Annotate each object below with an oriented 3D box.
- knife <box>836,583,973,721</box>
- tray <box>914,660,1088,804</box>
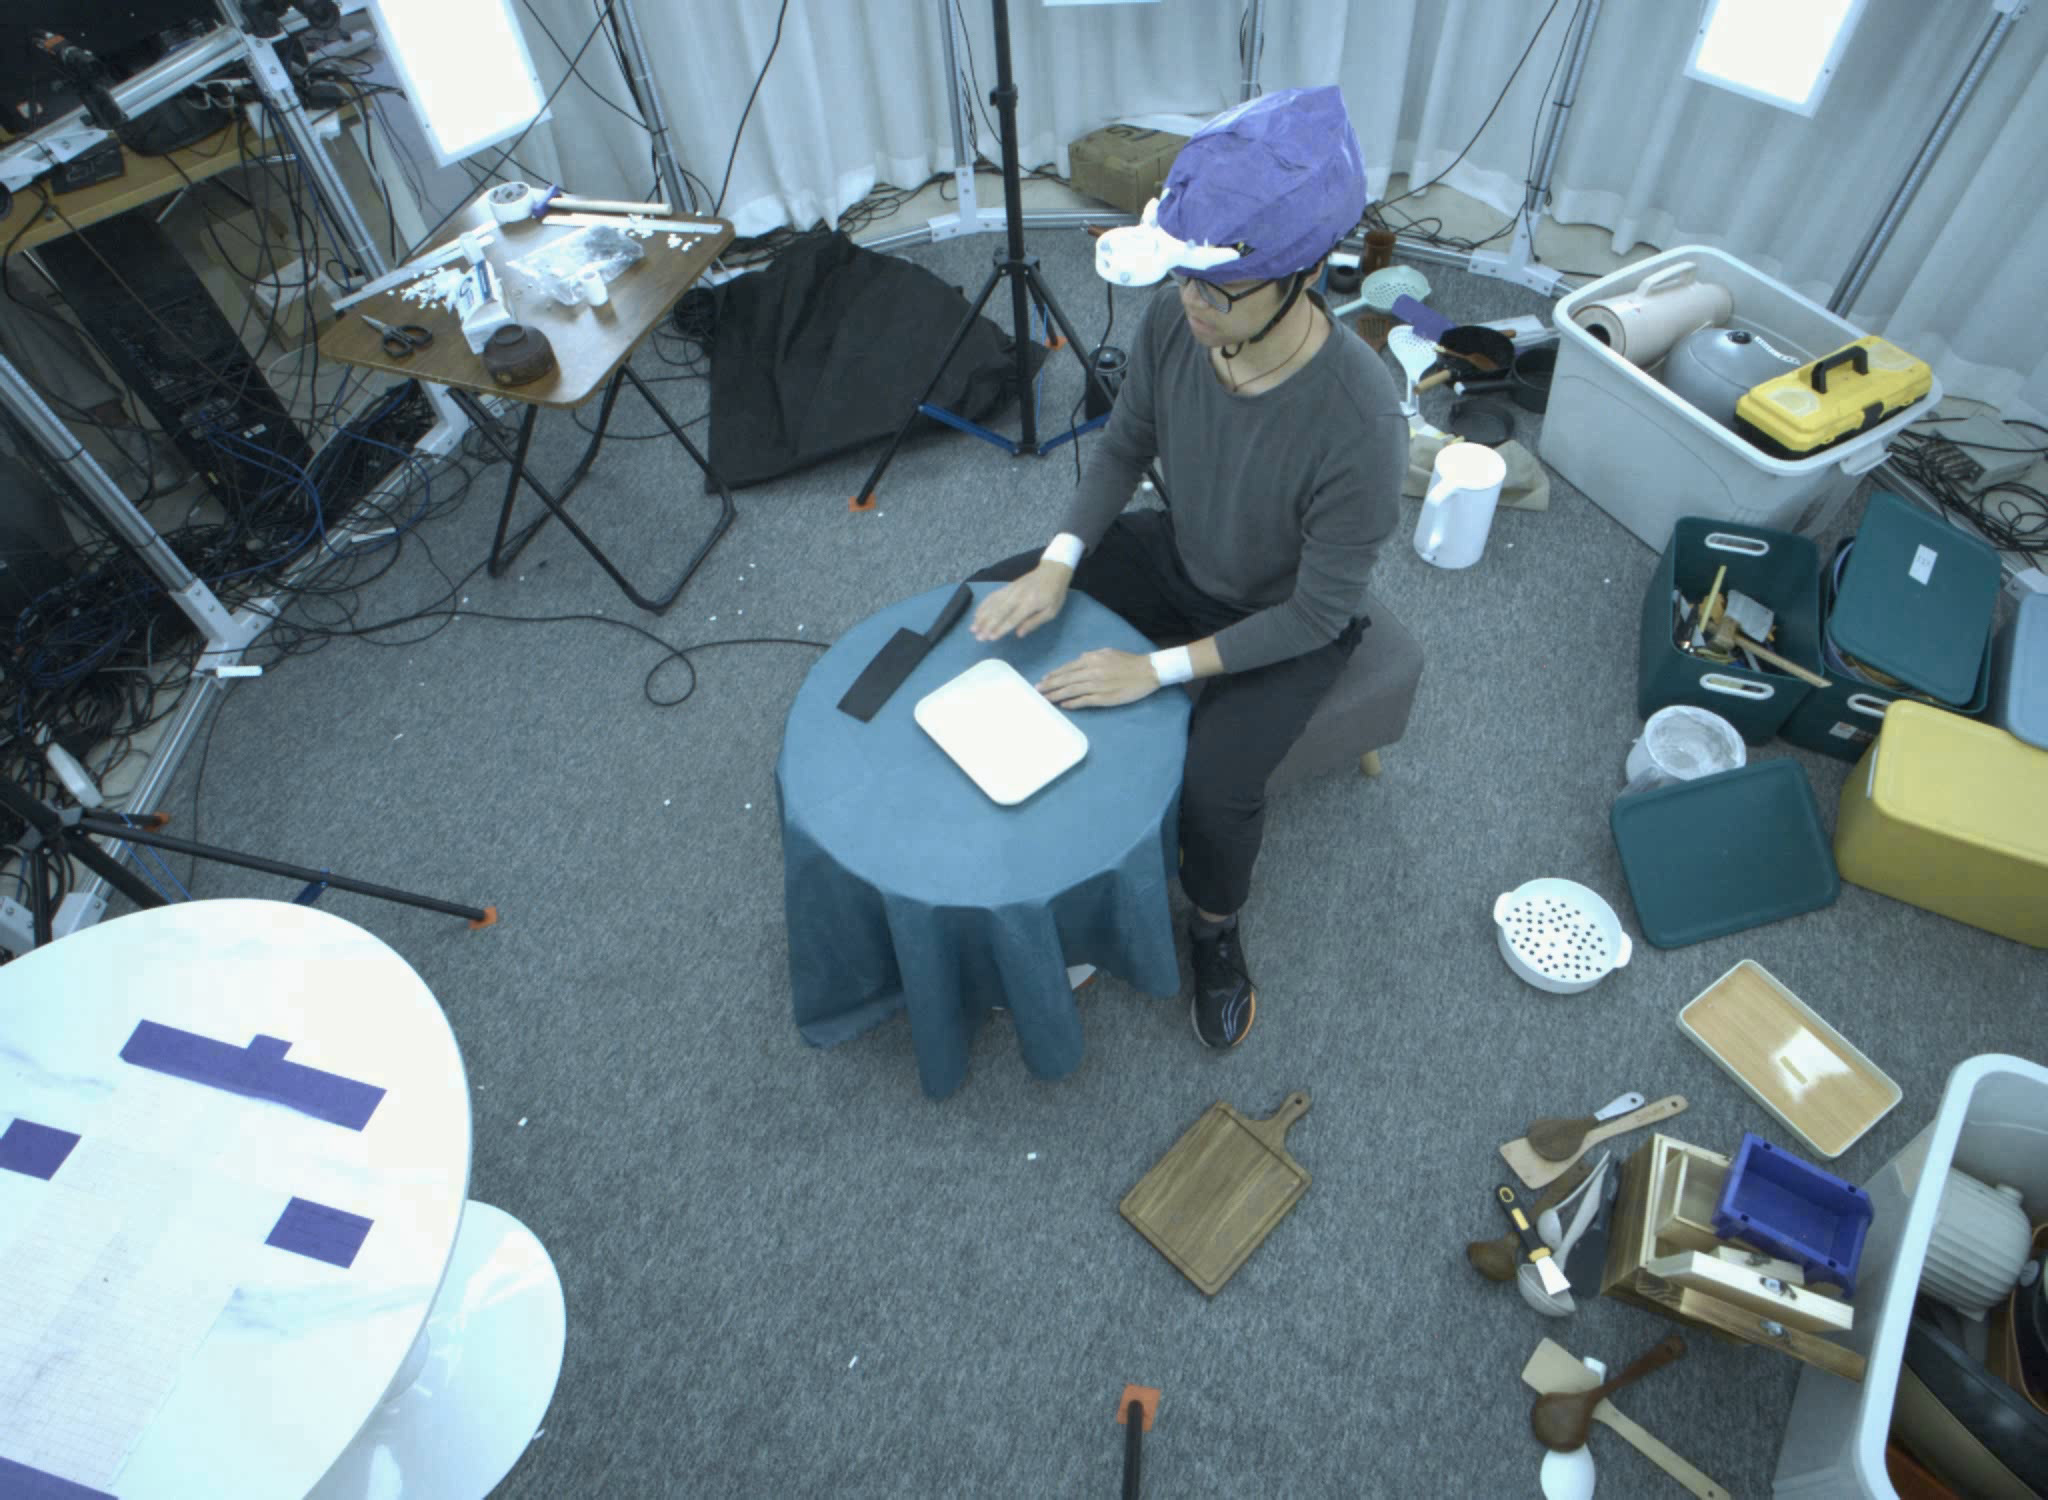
[{"bbox_3d":[-0.179,-0.159,1.905,0.079,0.021,0.303,30,62,22],"label":"knife"},{"bbox_3d":[-0.035,-0.028,1.805,0.172,0.017,0.235,-34,60,-22],"label":"tray"}]
